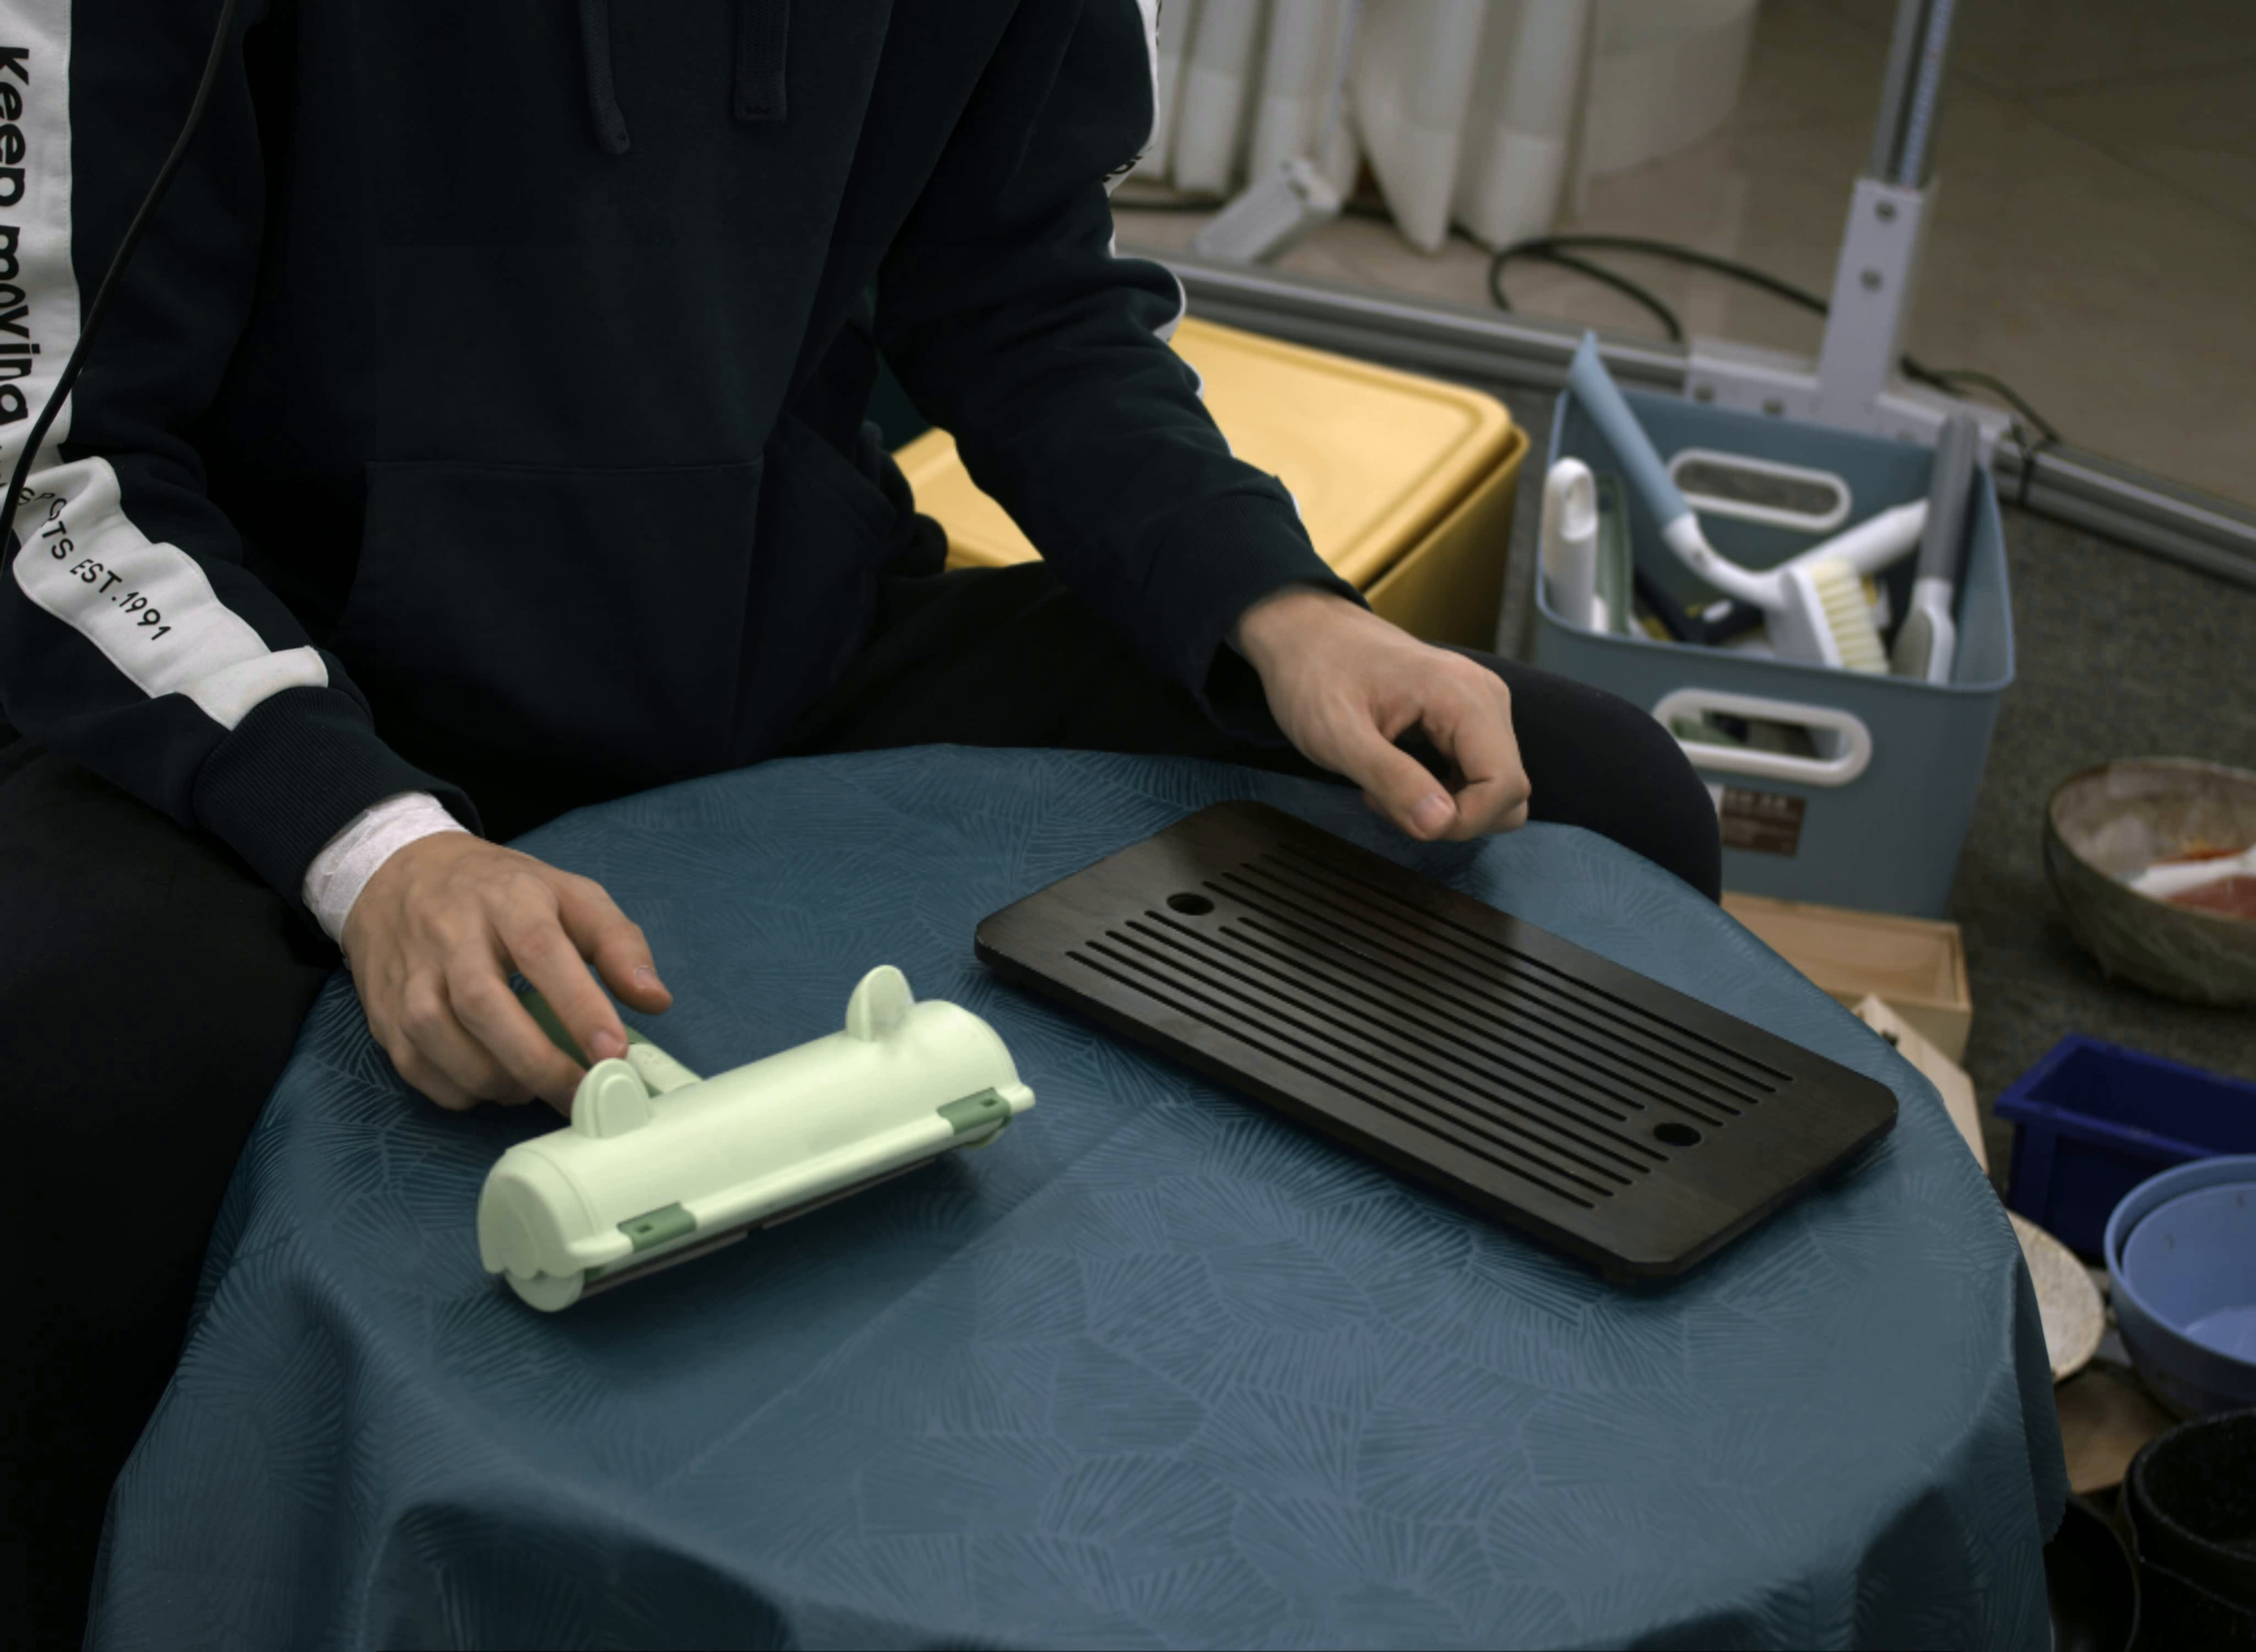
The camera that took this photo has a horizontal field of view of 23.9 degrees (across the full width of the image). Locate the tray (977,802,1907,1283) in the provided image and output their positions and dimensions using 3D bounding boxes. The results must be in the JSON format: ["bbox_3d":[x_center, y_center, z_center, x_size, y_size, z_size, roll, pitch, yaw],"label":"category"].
[{"bbox_3d":[0.110,0.074,1.901,0.308,0.018,0.169,24,32,32],"label":"tray"}]

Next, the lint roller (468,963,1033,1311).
[{"bbox_3d":[-0.159,0.076,1.770,0.197,0.082,0.185,-18,39,-39],"label":"lint roller"}]
